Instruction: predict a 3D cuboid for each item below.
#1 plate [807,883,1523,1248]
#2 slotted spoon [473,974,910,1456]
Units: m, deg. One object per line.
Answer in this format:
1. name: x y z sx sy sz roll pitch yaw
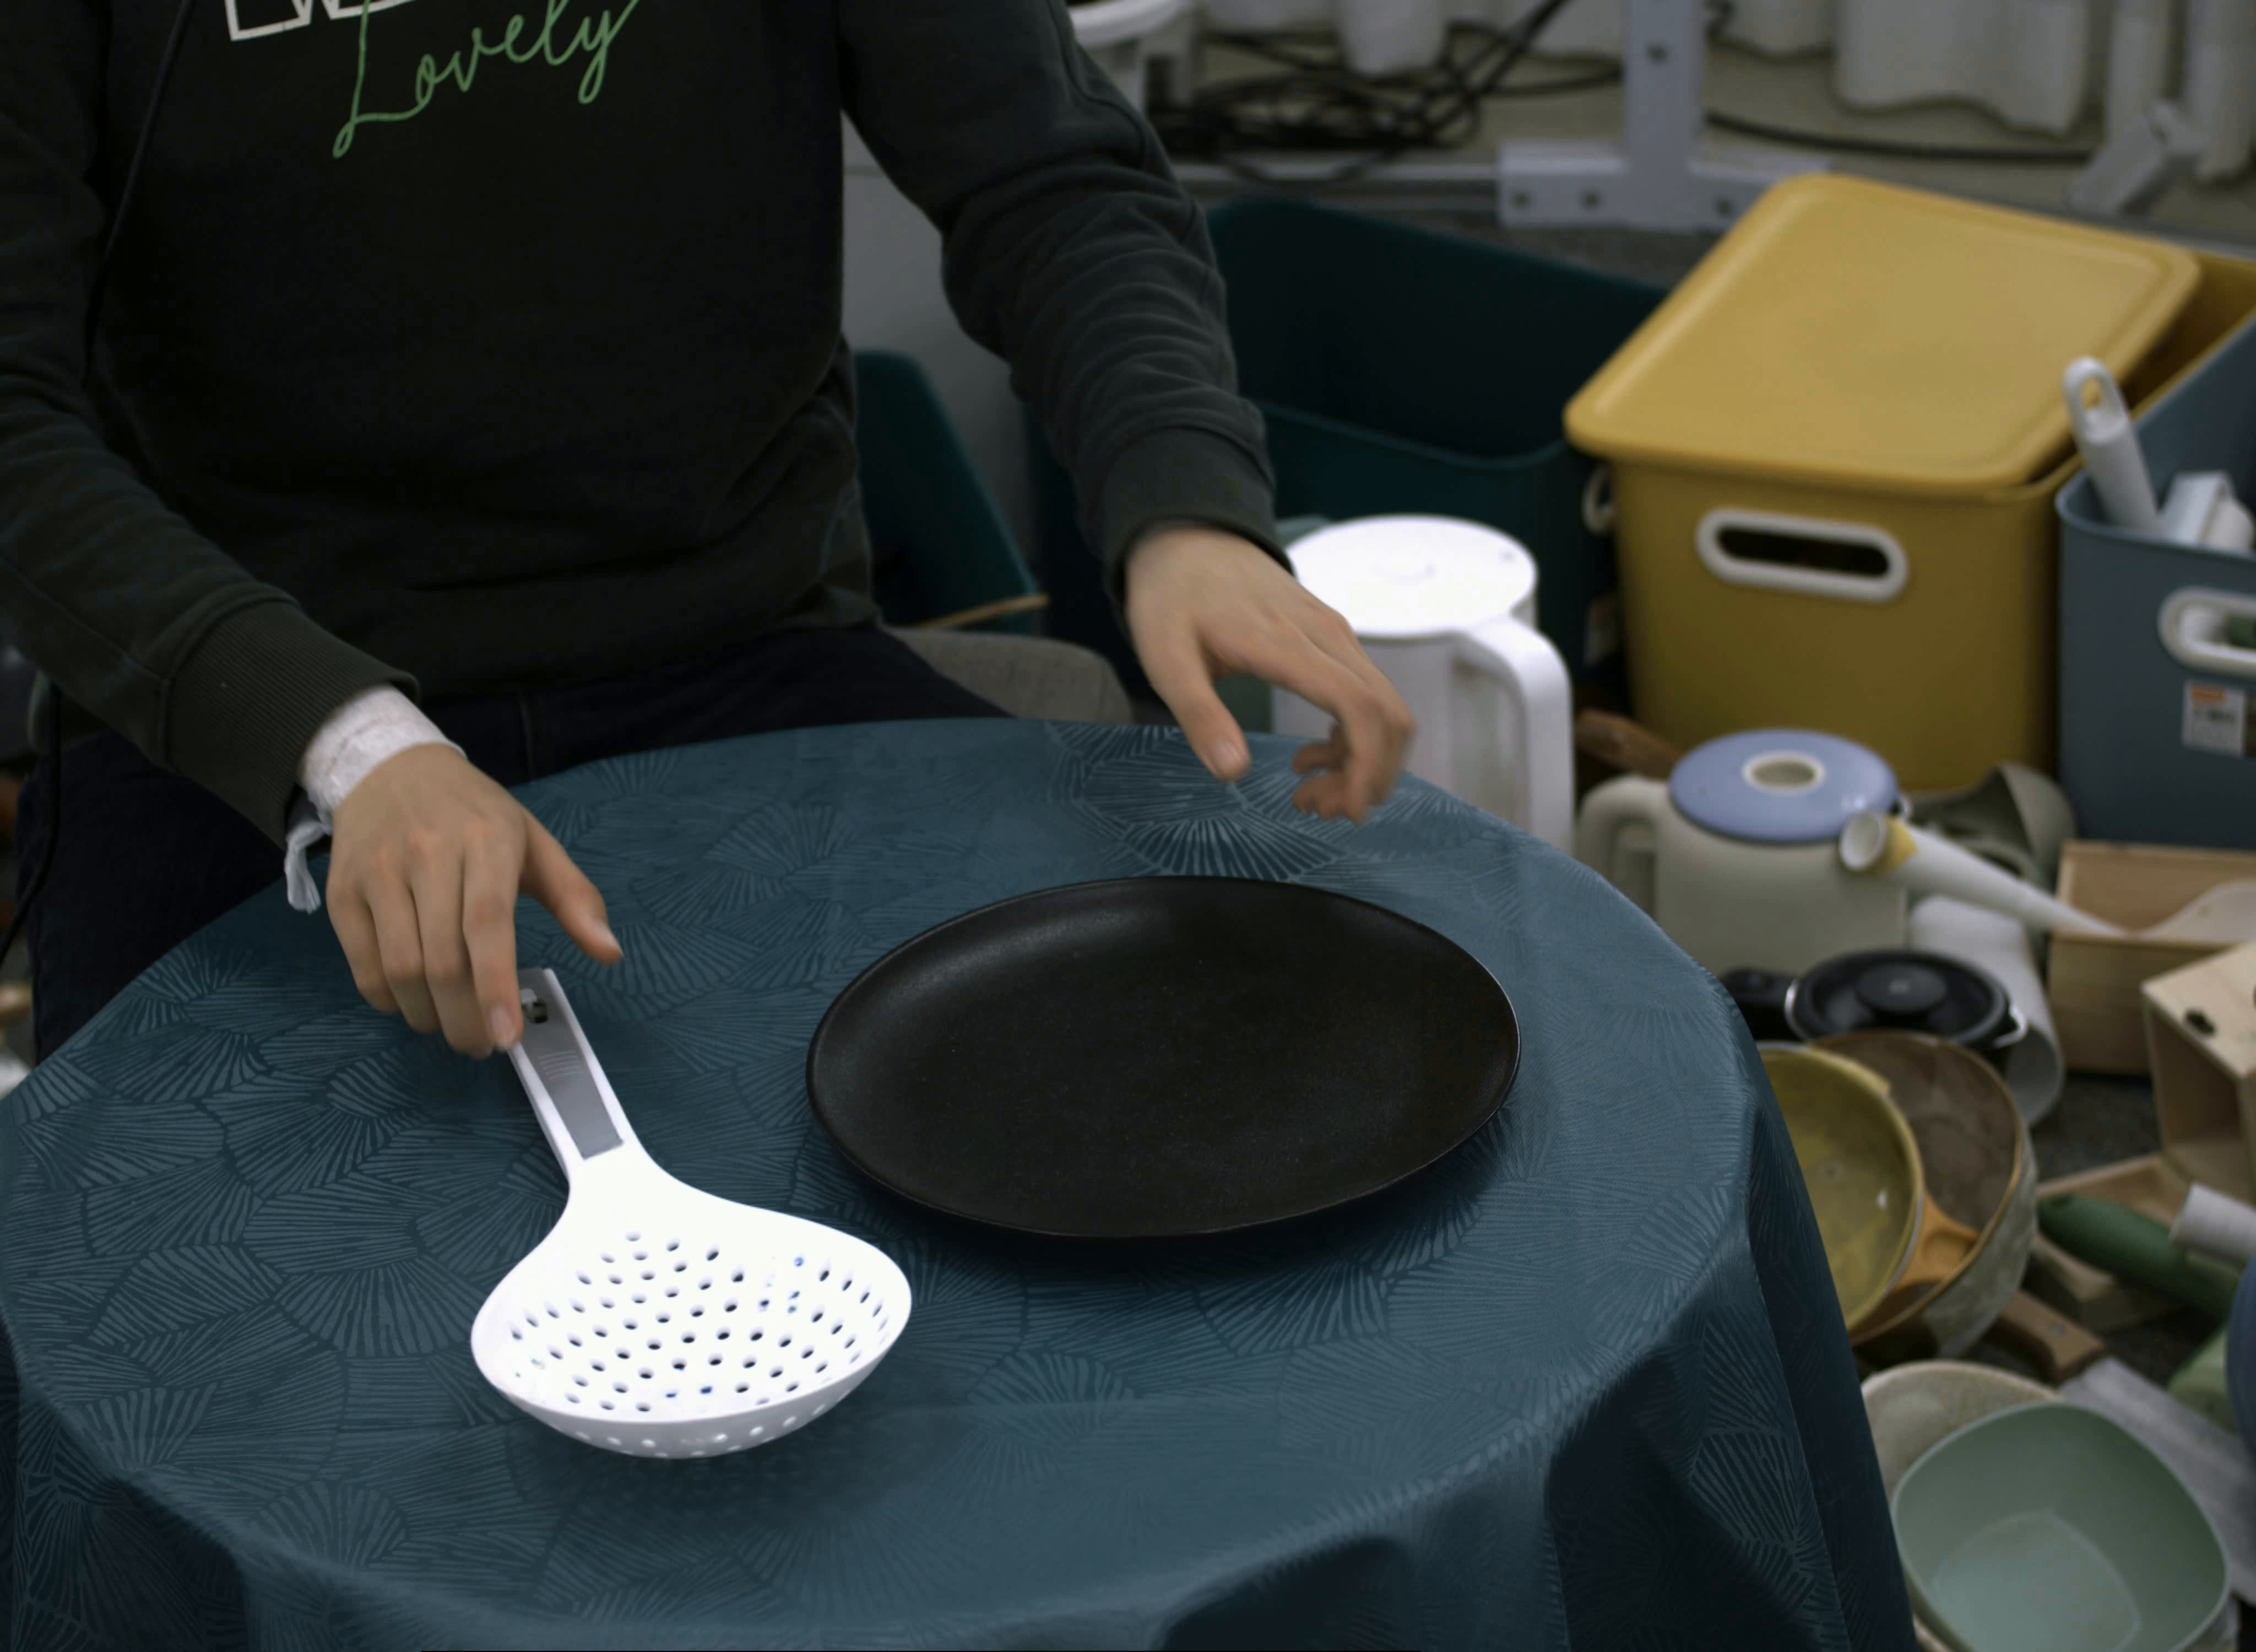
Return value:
1. plate: 0.013 0.085 1.906 0.243 0.023 0.248 -2 27 2
2. slotted spoon: -0.166 0.120 1.831 0.136 0.045 0.353 -8 27 -14
